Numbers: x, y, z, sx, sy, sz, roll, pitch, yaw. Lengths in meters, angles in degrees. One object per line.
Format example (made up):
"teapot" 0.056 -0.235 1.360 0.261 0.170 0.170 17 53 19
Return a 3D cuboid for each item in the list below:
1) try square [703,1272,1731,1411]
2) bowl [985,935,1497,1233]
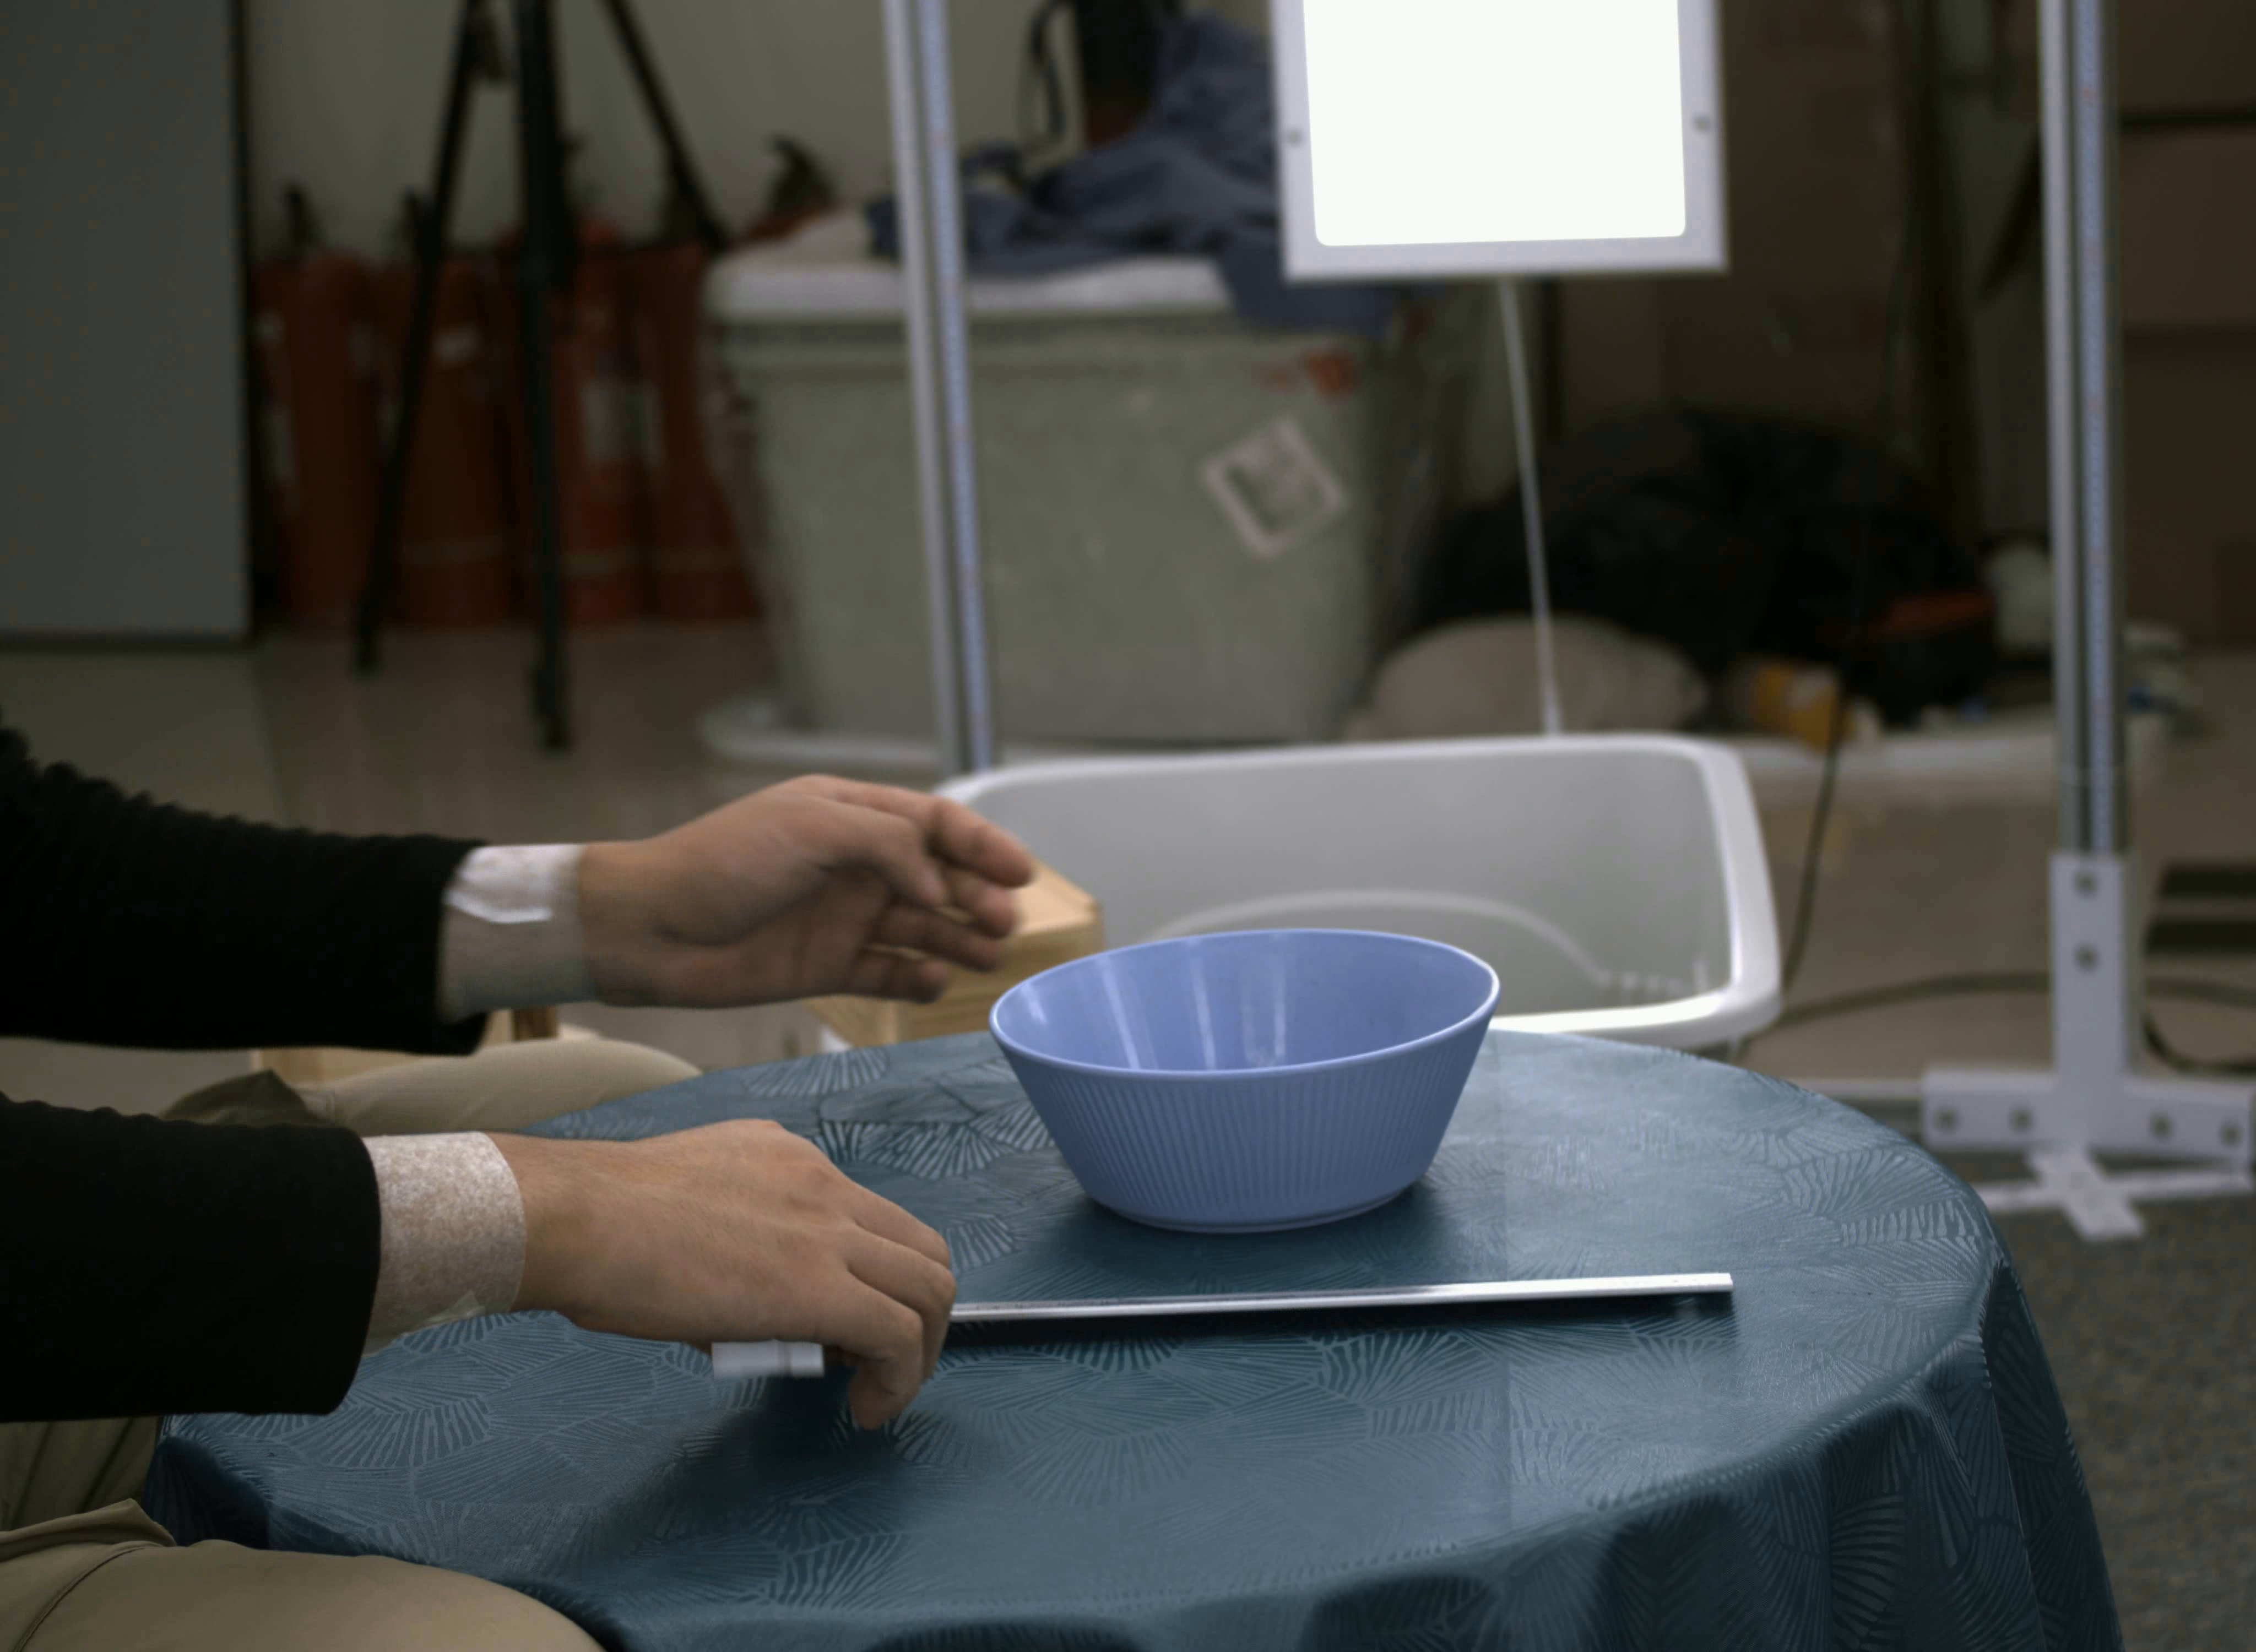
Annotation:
"try square" 0.032 0.156 1.703 0.314 0.016 0.151 -3 4 6
"bowl" 0.040 0.090 1.885 0.175 0.070 0.176 -5 14 0
